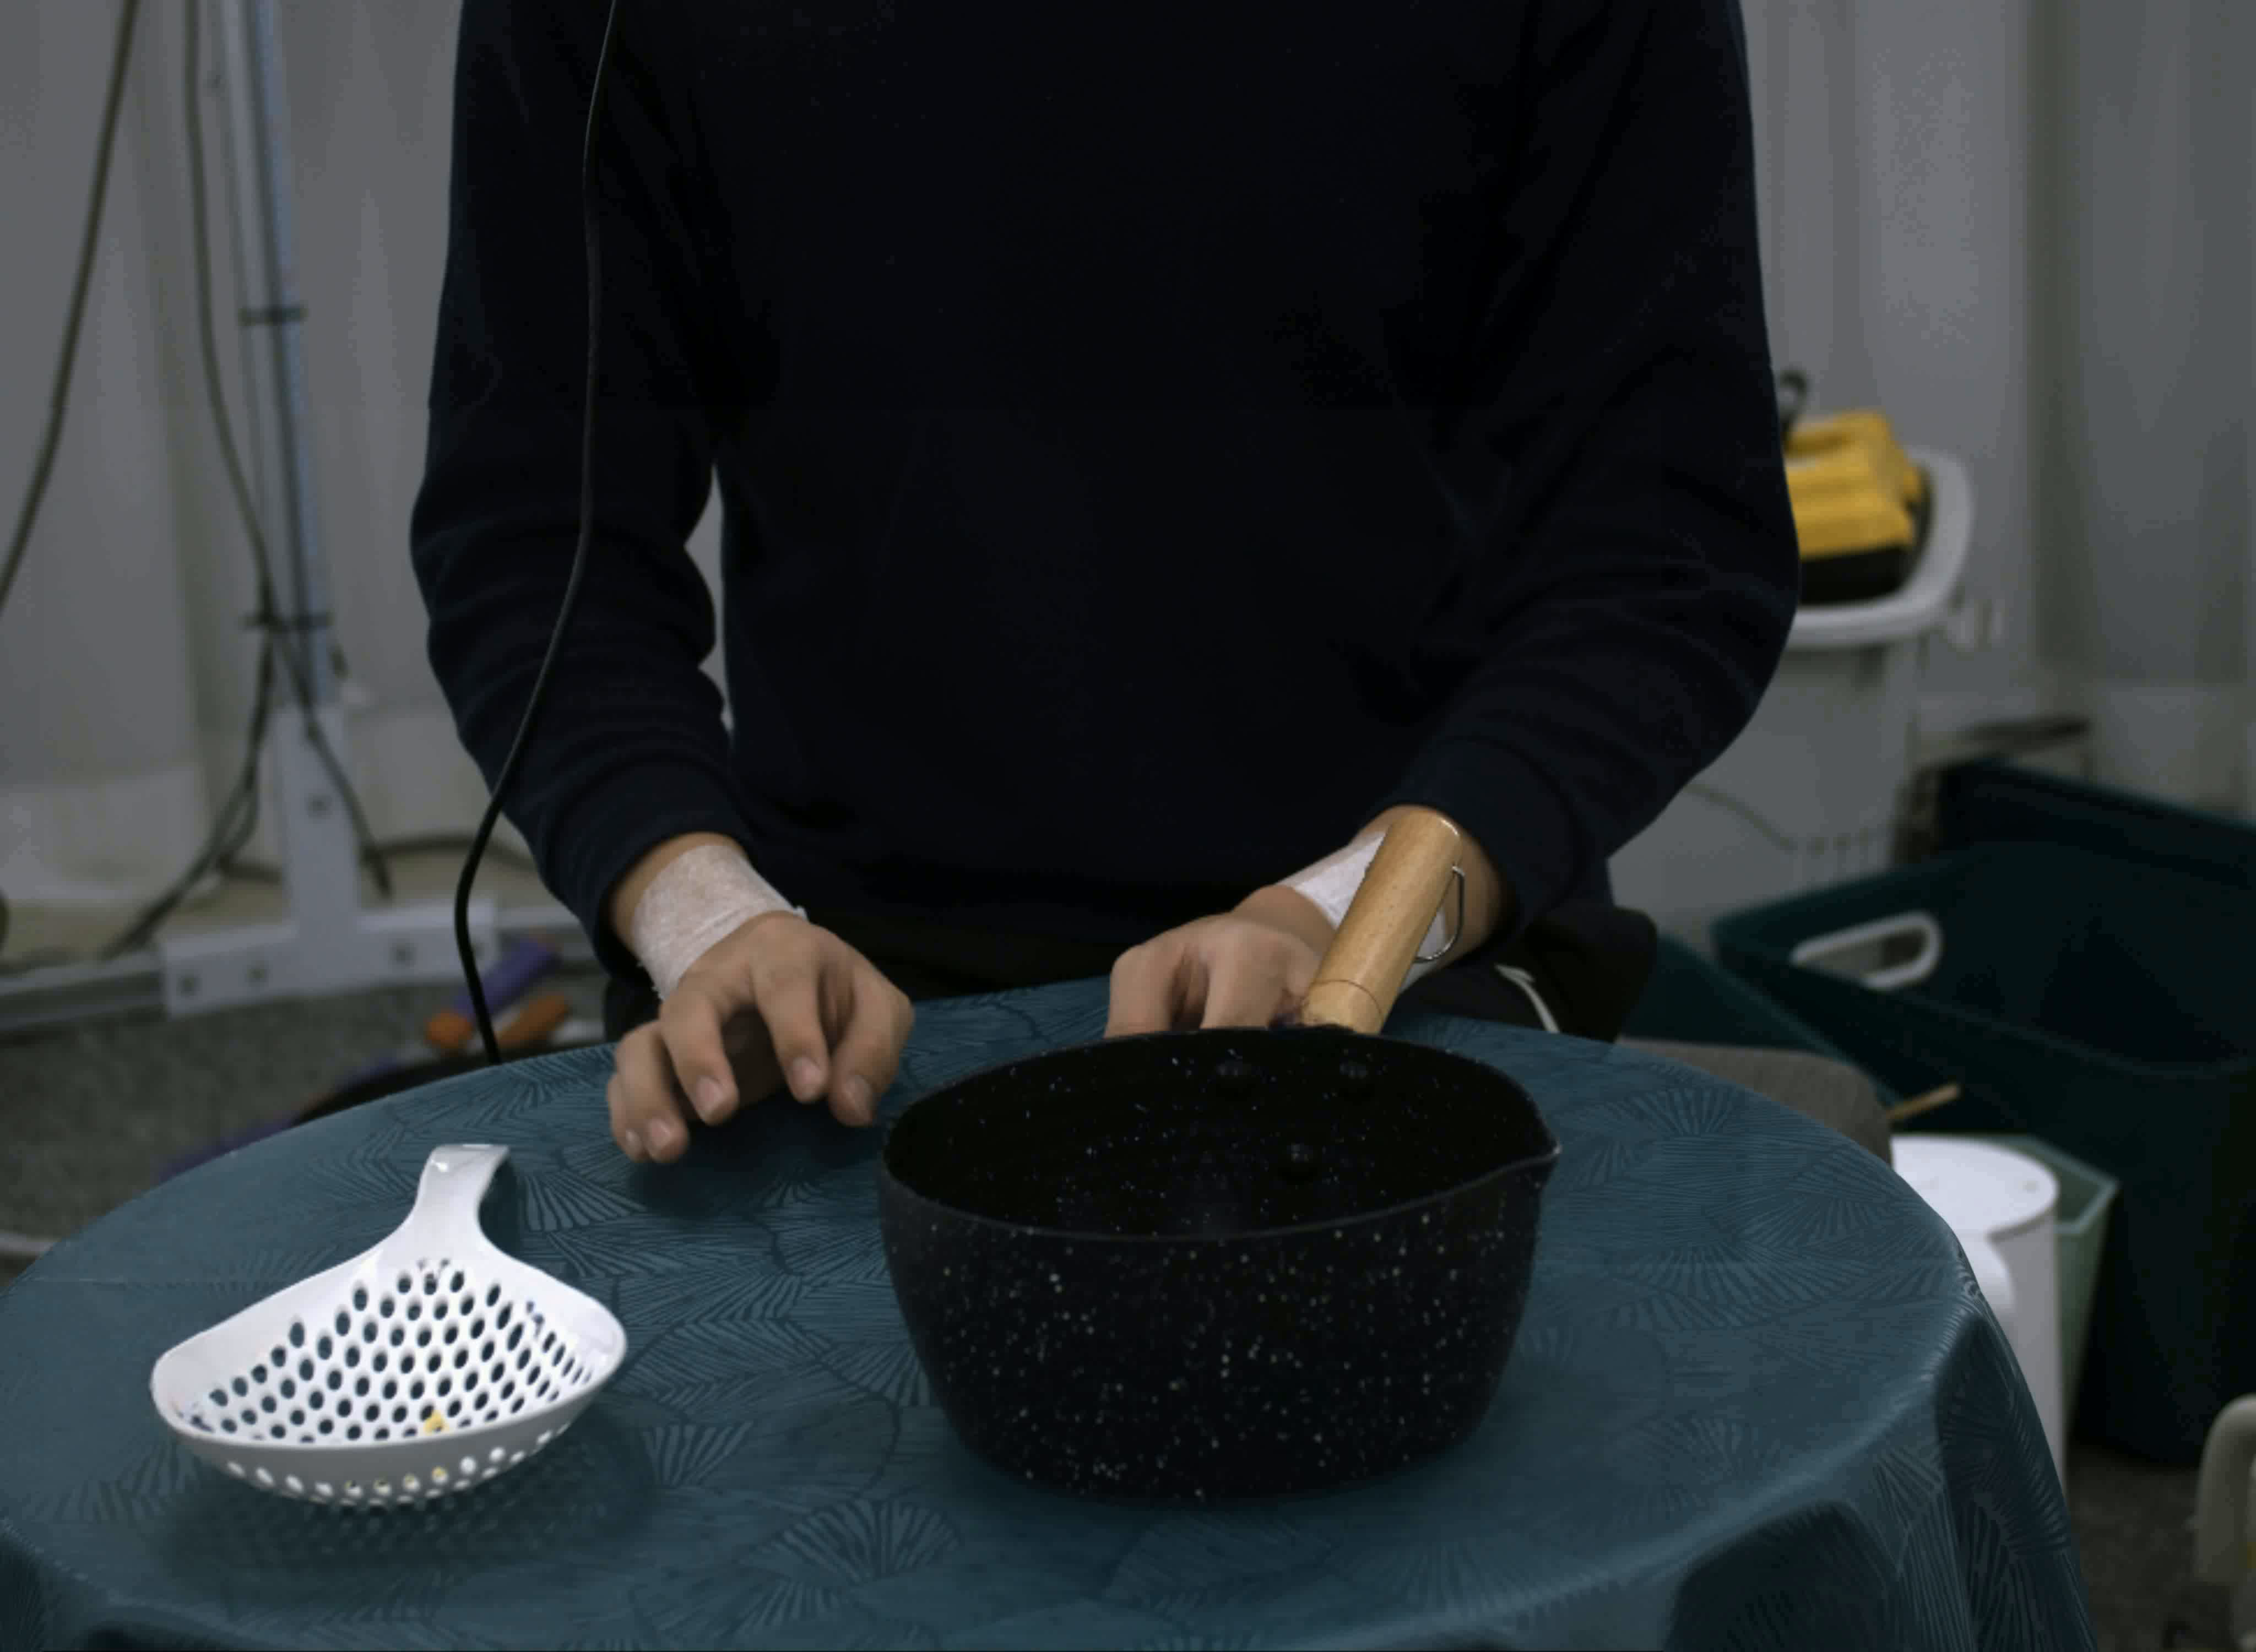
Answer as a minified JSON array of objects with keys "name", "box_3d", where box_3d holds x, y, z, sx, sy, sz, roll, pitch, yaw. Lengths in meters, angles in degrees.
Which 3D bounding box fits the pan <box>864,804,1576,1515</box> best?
[{"name":"pan","box_3d":[0.046,0.091,1.588,0.207,0.108,0.344,0,16,17]}]

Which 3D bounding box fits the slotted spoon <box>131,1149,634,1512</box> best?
[{"name":"slotted spoon","box_3d":[-0.206,0.133,1.605,0.136,0.050,0.350,-5,17,-1]}]
